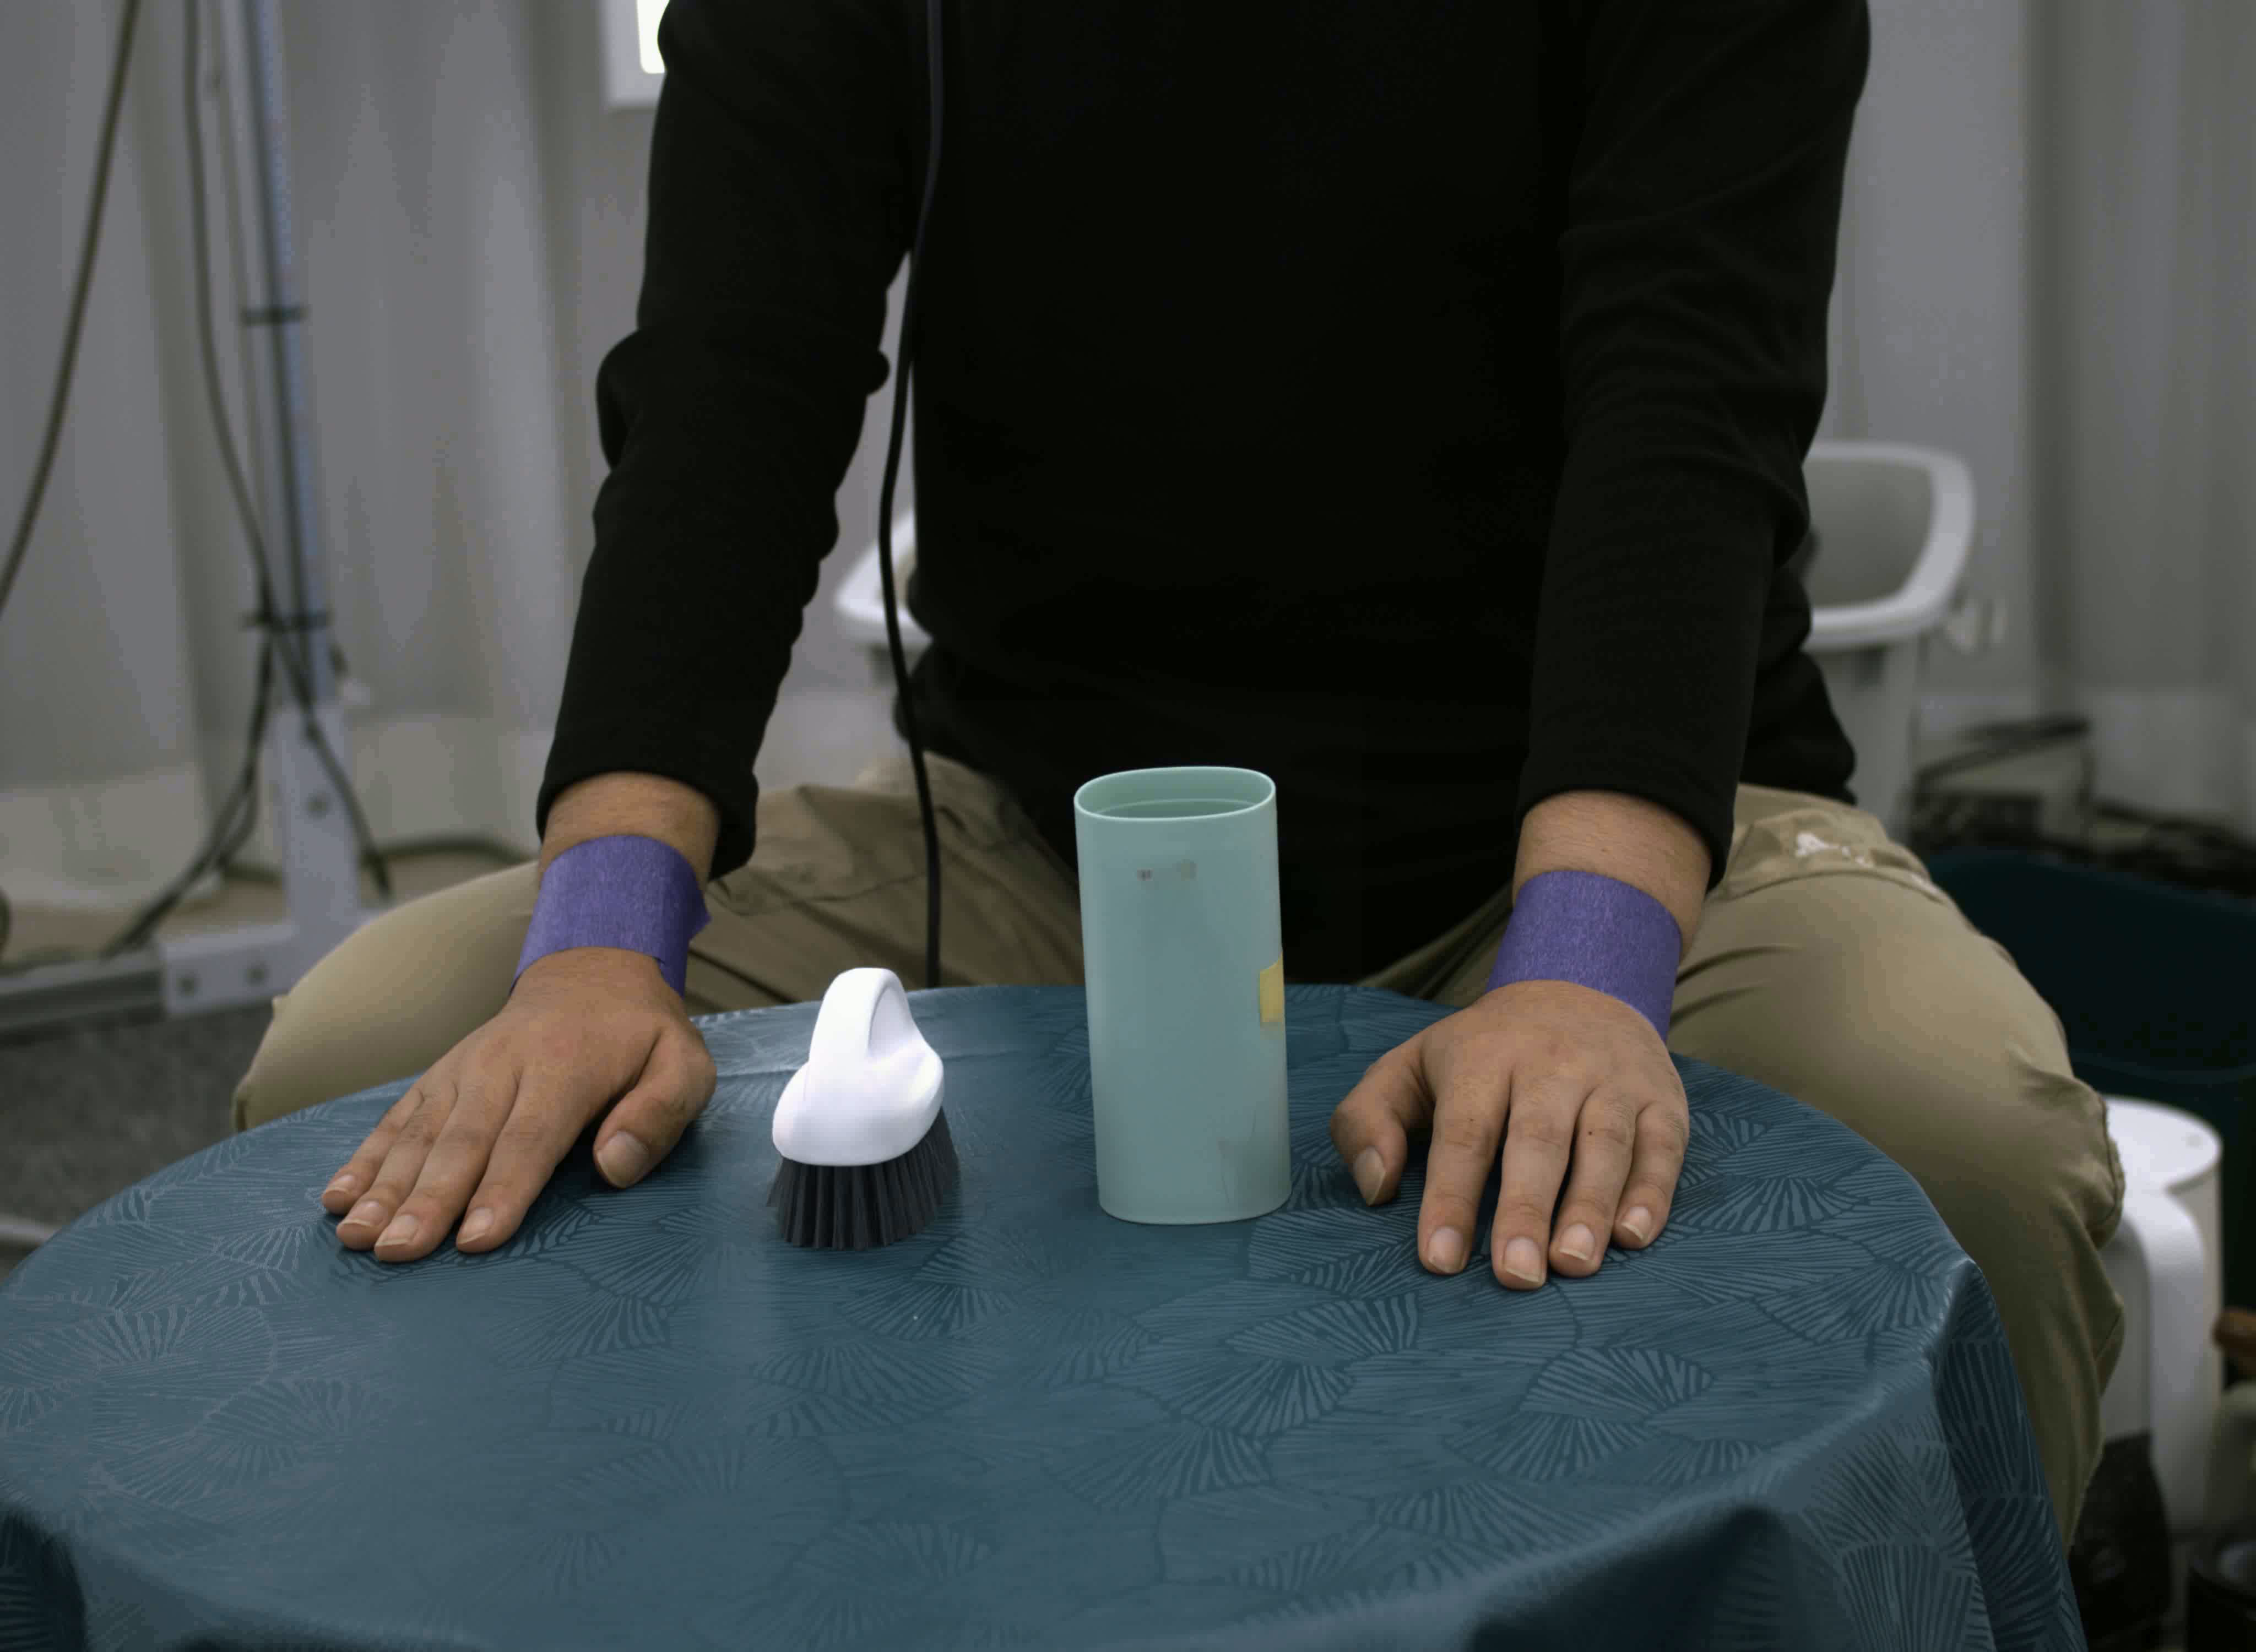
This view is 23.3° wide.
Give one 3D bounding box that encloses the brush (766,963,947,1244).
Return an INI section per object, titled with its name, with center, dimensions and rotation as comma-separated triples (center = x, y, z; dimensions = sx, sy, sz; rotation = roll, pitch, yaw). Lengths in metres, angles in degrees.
[brush]
center = -0.086, 0.081, 1.713
dimensions = 0.050, 0.072, 0.100
rotation = 1, 16, 9

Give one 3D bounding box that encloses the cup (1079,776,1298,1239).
[cup]
center = 0.018, 0.056, 1.696
dimensions = 0.066, 0.132, 0.067
rotation = -3, 14, 1
